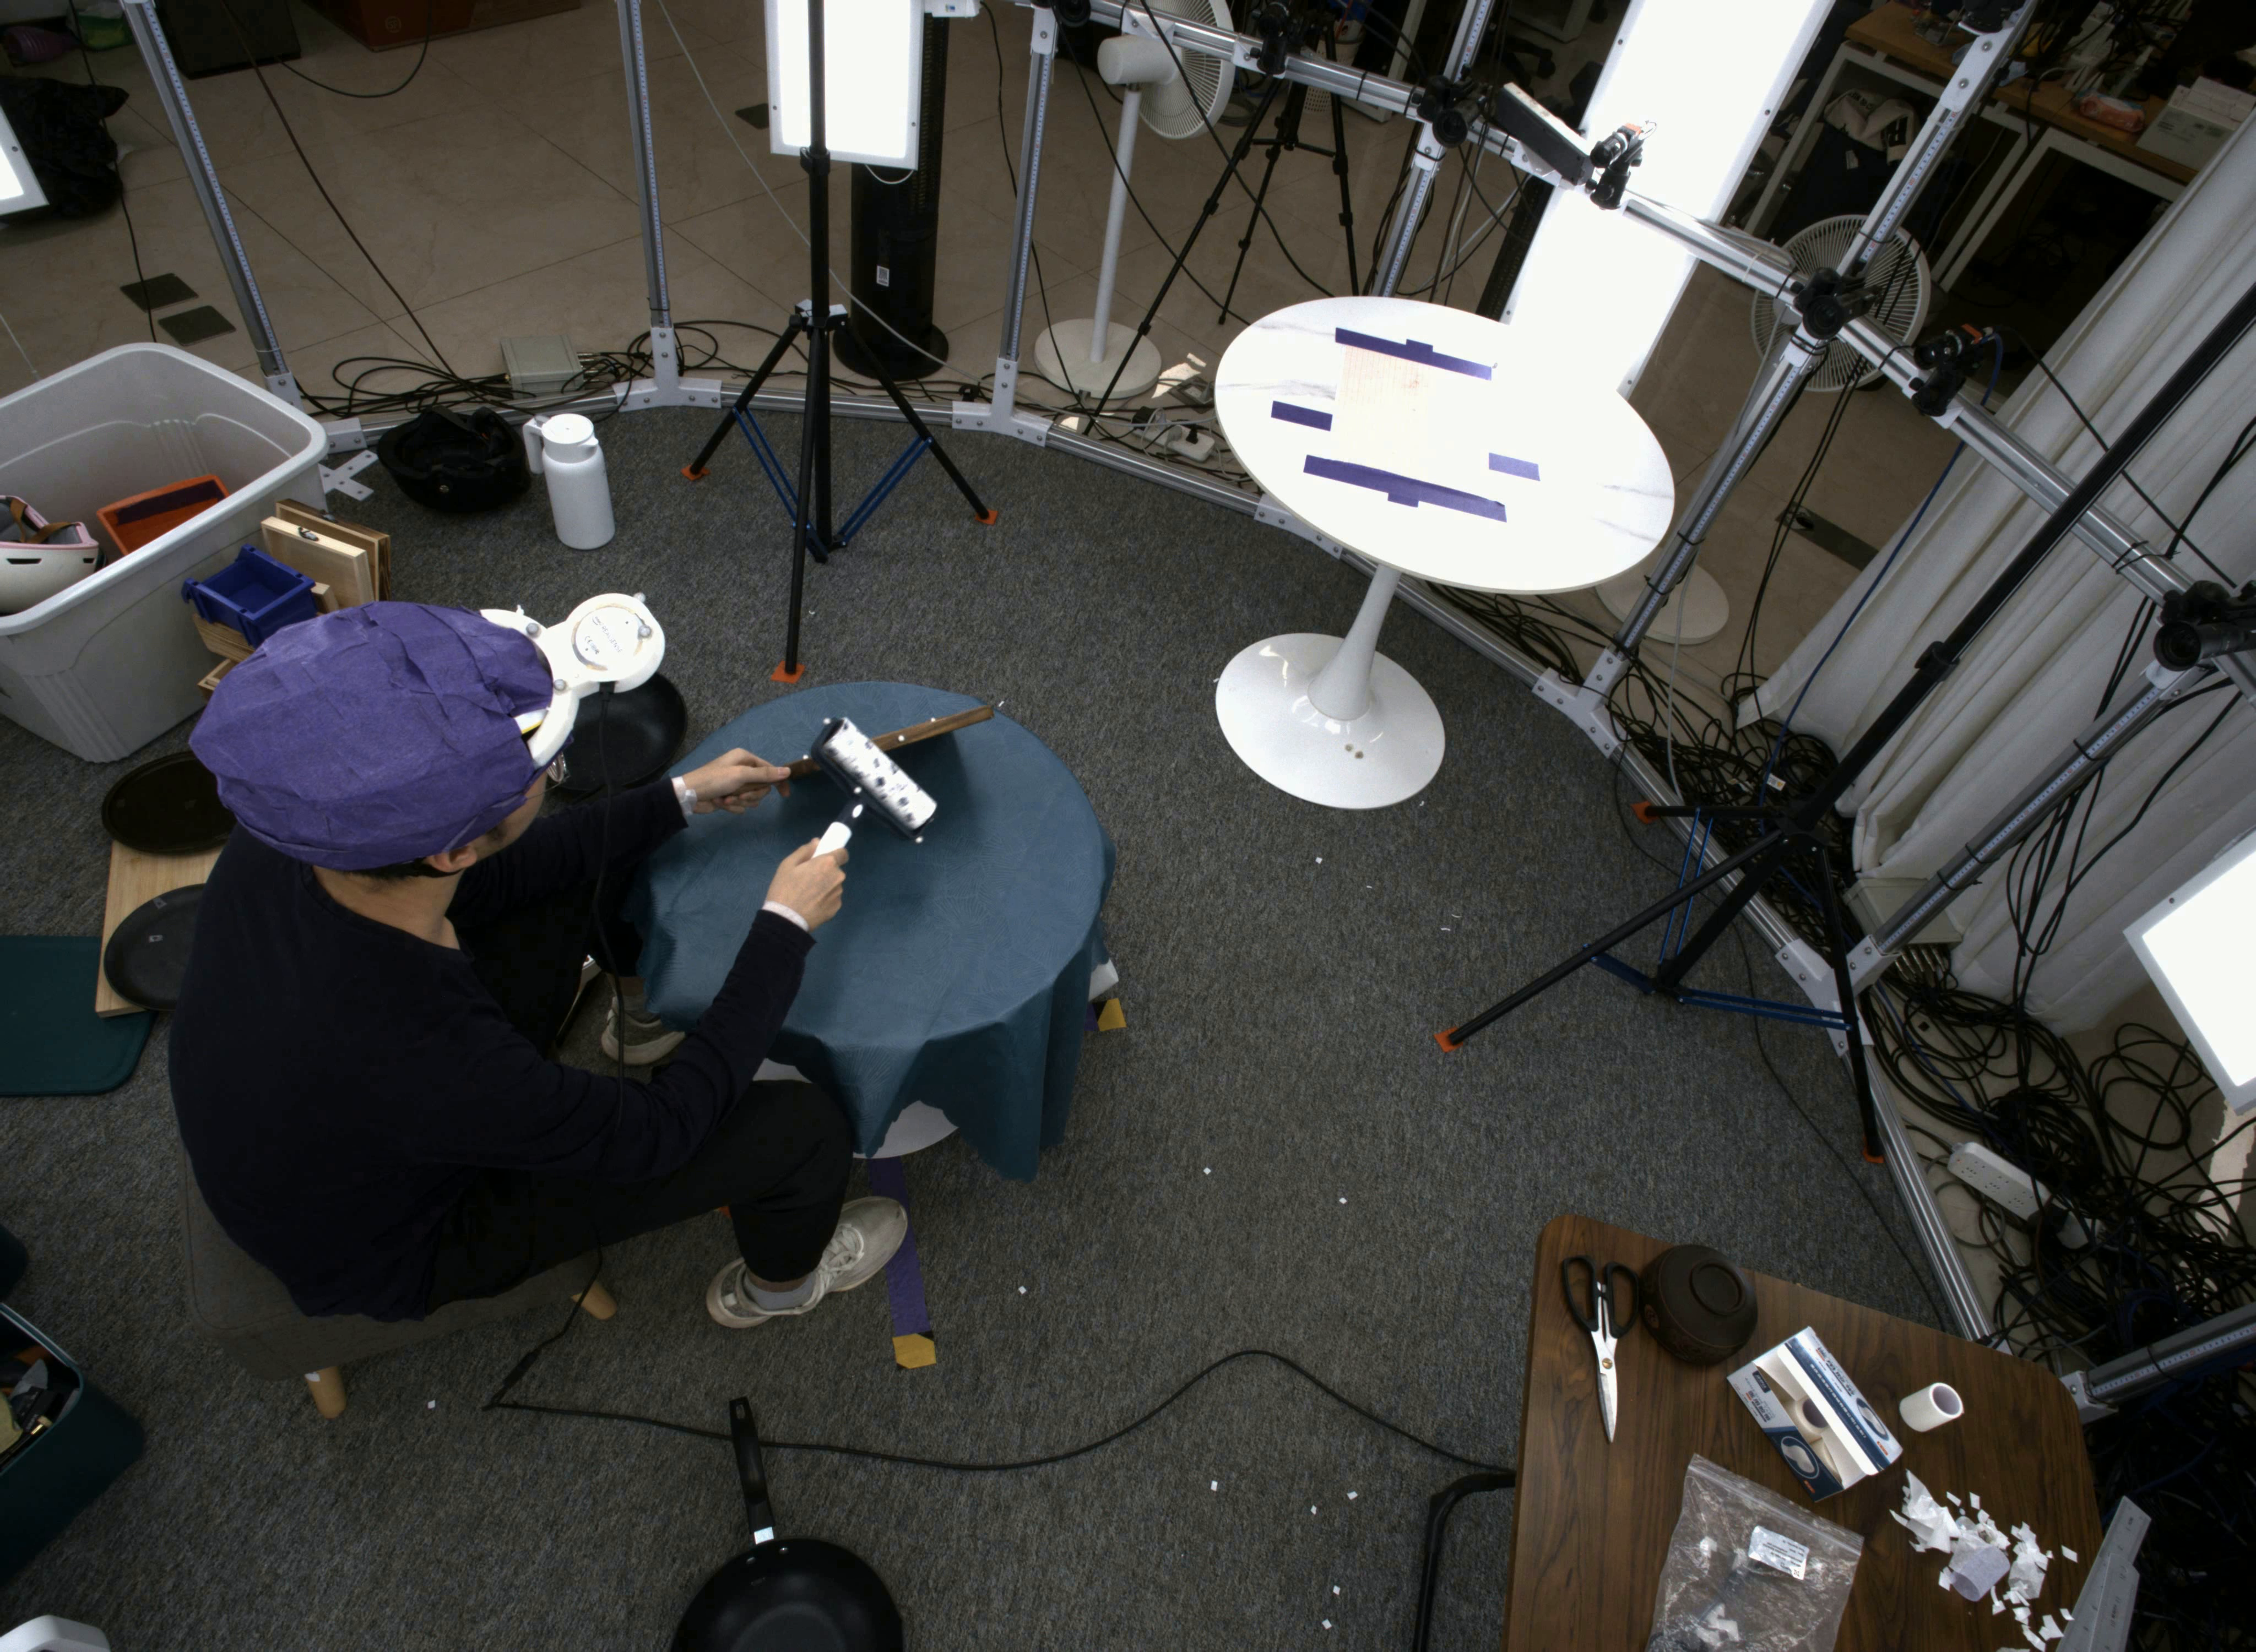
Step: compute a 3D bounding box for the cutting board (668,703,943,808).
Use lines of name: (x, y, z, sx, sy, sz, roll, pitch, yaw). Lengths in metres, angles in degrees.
cutting board: (-0.430, -0.091, 1.697, 0.354, 0.196, 0.023, -22, 98, -27)

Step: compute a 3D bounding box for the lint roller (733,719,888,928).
lint roller: (-0.400, 0.015, 1.544, 0.182, 0.049, 0.245, 44, 52, -30)
